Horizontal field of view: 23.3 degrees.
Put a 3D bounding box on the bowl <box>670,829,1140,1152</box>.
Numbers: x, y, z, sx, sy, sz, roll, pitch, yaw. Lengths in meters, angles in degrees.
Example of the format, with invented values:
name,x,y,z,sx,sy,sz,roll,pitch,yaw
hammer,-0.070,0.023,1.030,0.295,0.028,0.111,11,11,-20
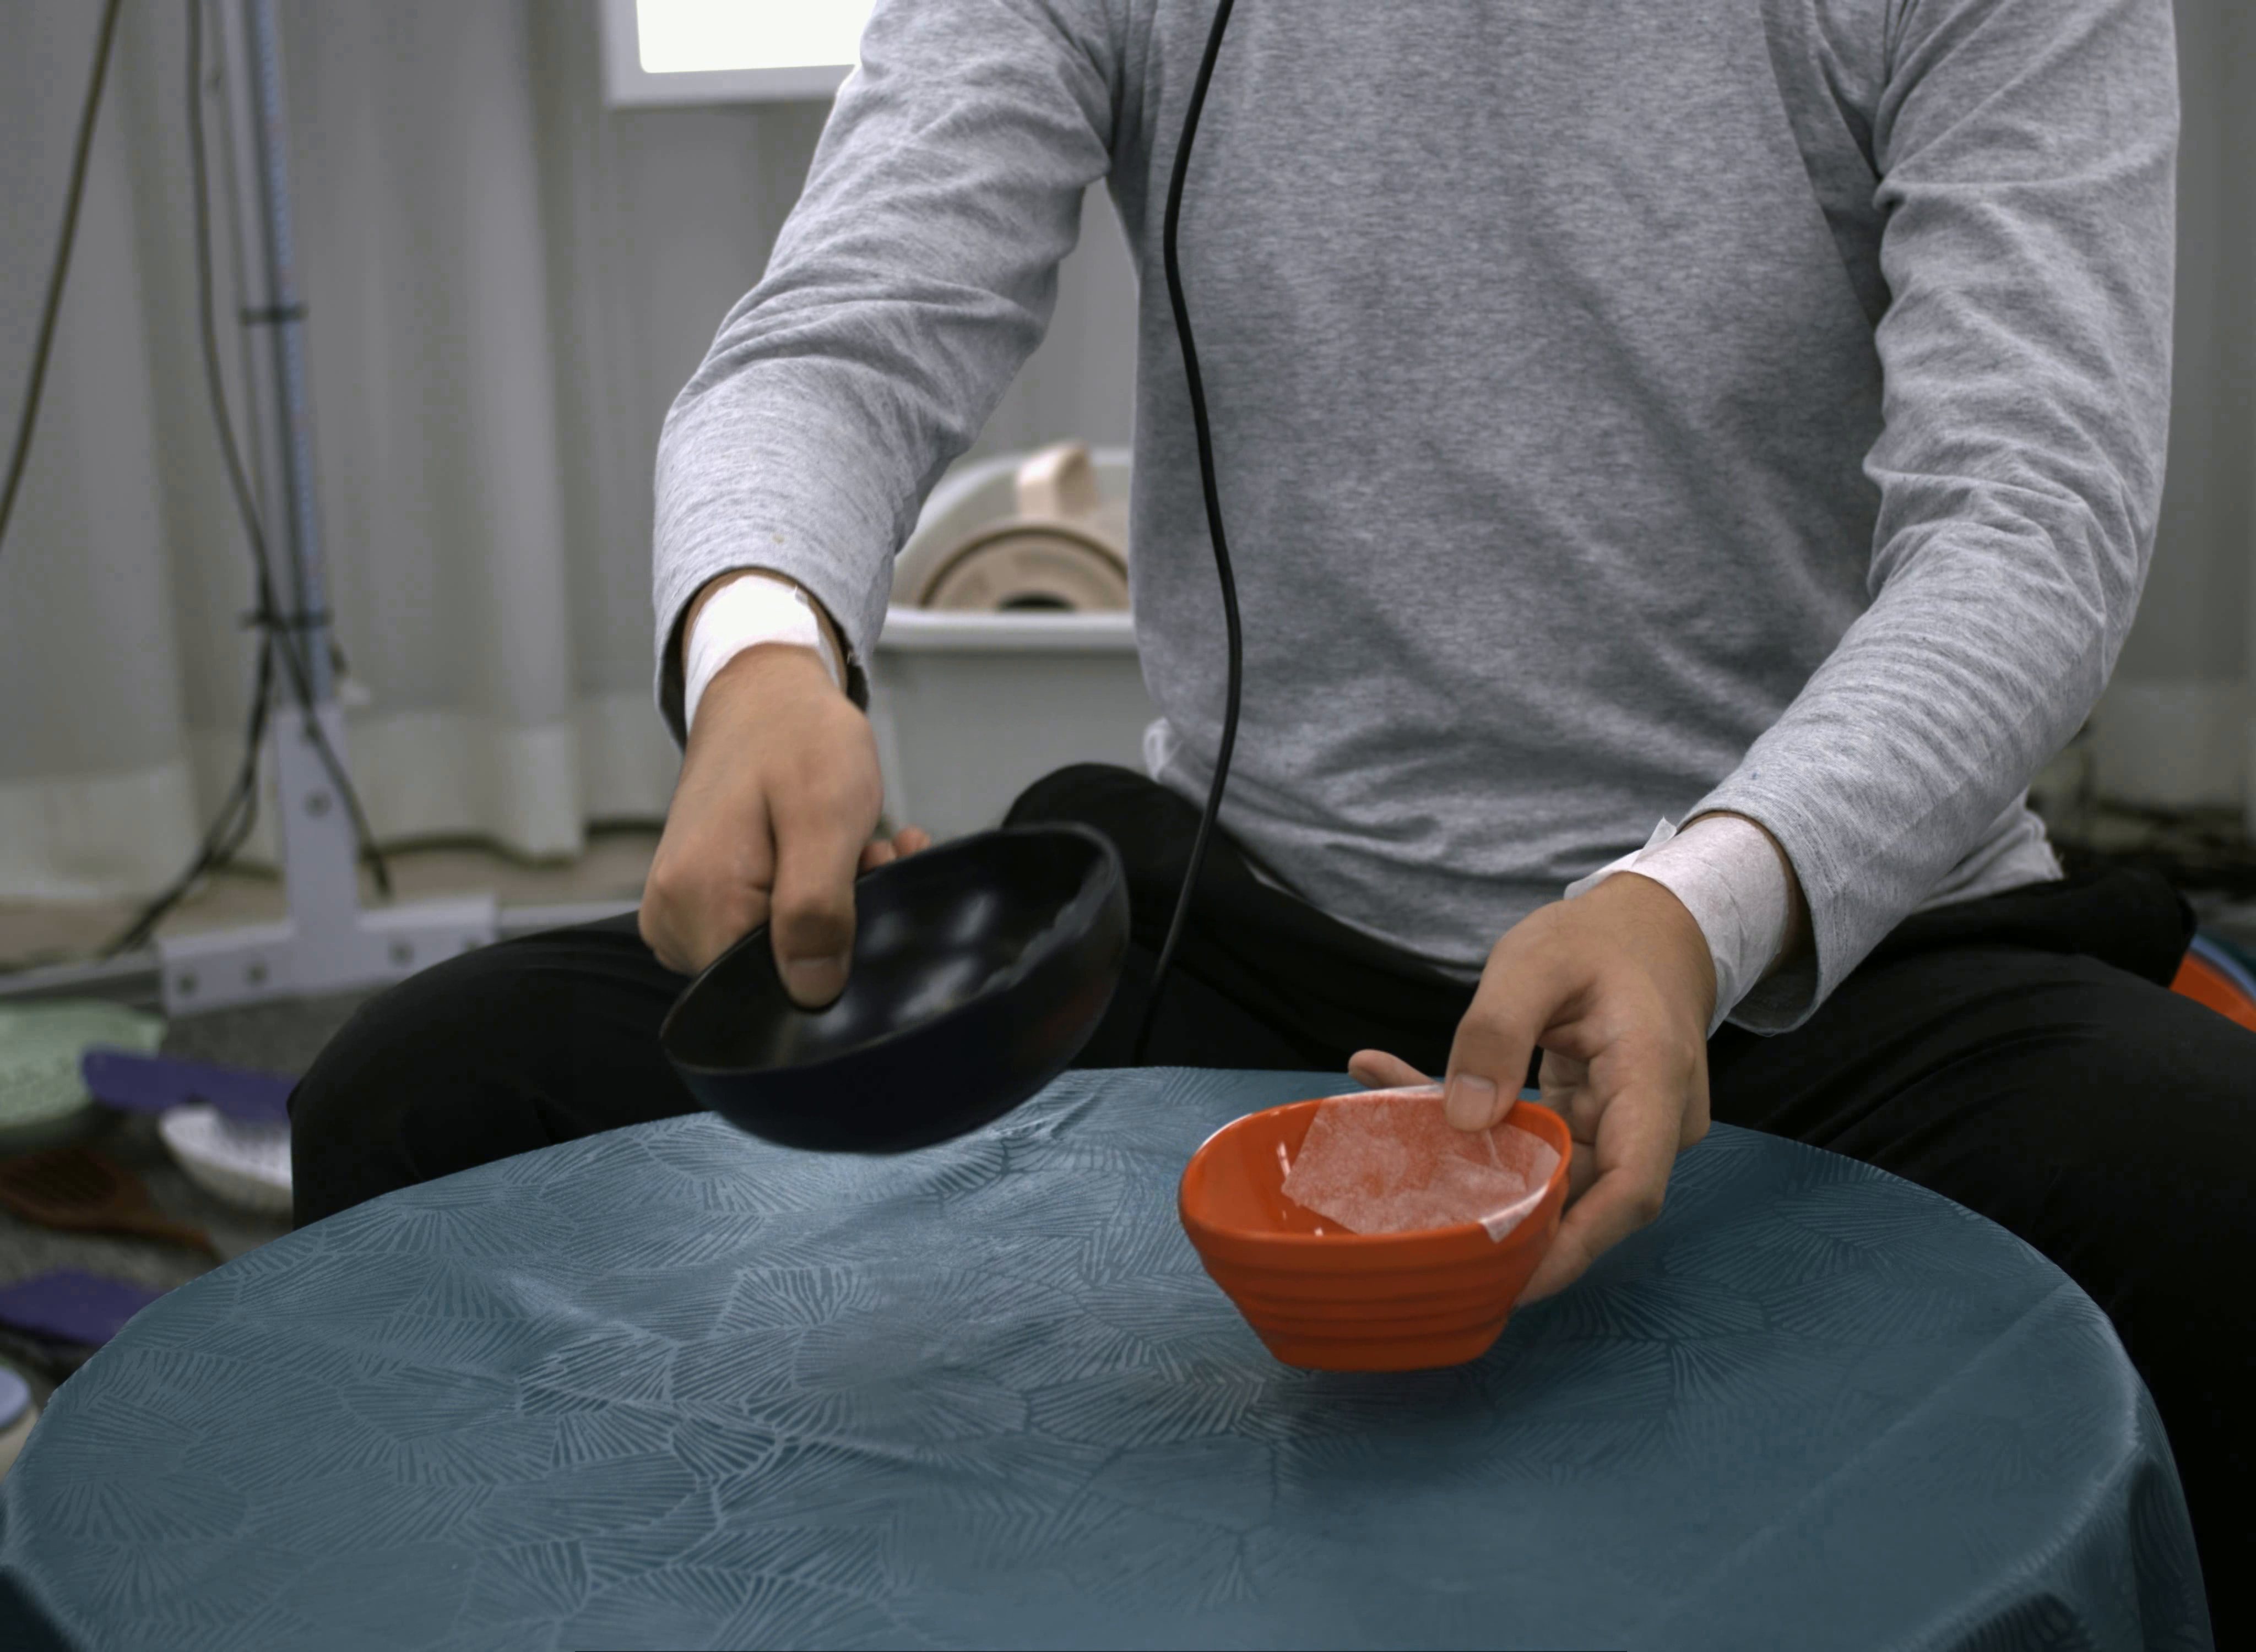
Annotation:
name,x,y,z,sx,sy,sz,roll,pitch,yaw
bowl,-0.055,0.053,1.527,0.139,0.049,0.141,-21,14,5

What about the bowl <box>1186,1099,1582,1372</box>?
name,x,y,z,sx,sy,sz,roll,pitch,yaw
bowl,0.074,0.118,1.537,0.118,0.051,0.120,-6,15,1
